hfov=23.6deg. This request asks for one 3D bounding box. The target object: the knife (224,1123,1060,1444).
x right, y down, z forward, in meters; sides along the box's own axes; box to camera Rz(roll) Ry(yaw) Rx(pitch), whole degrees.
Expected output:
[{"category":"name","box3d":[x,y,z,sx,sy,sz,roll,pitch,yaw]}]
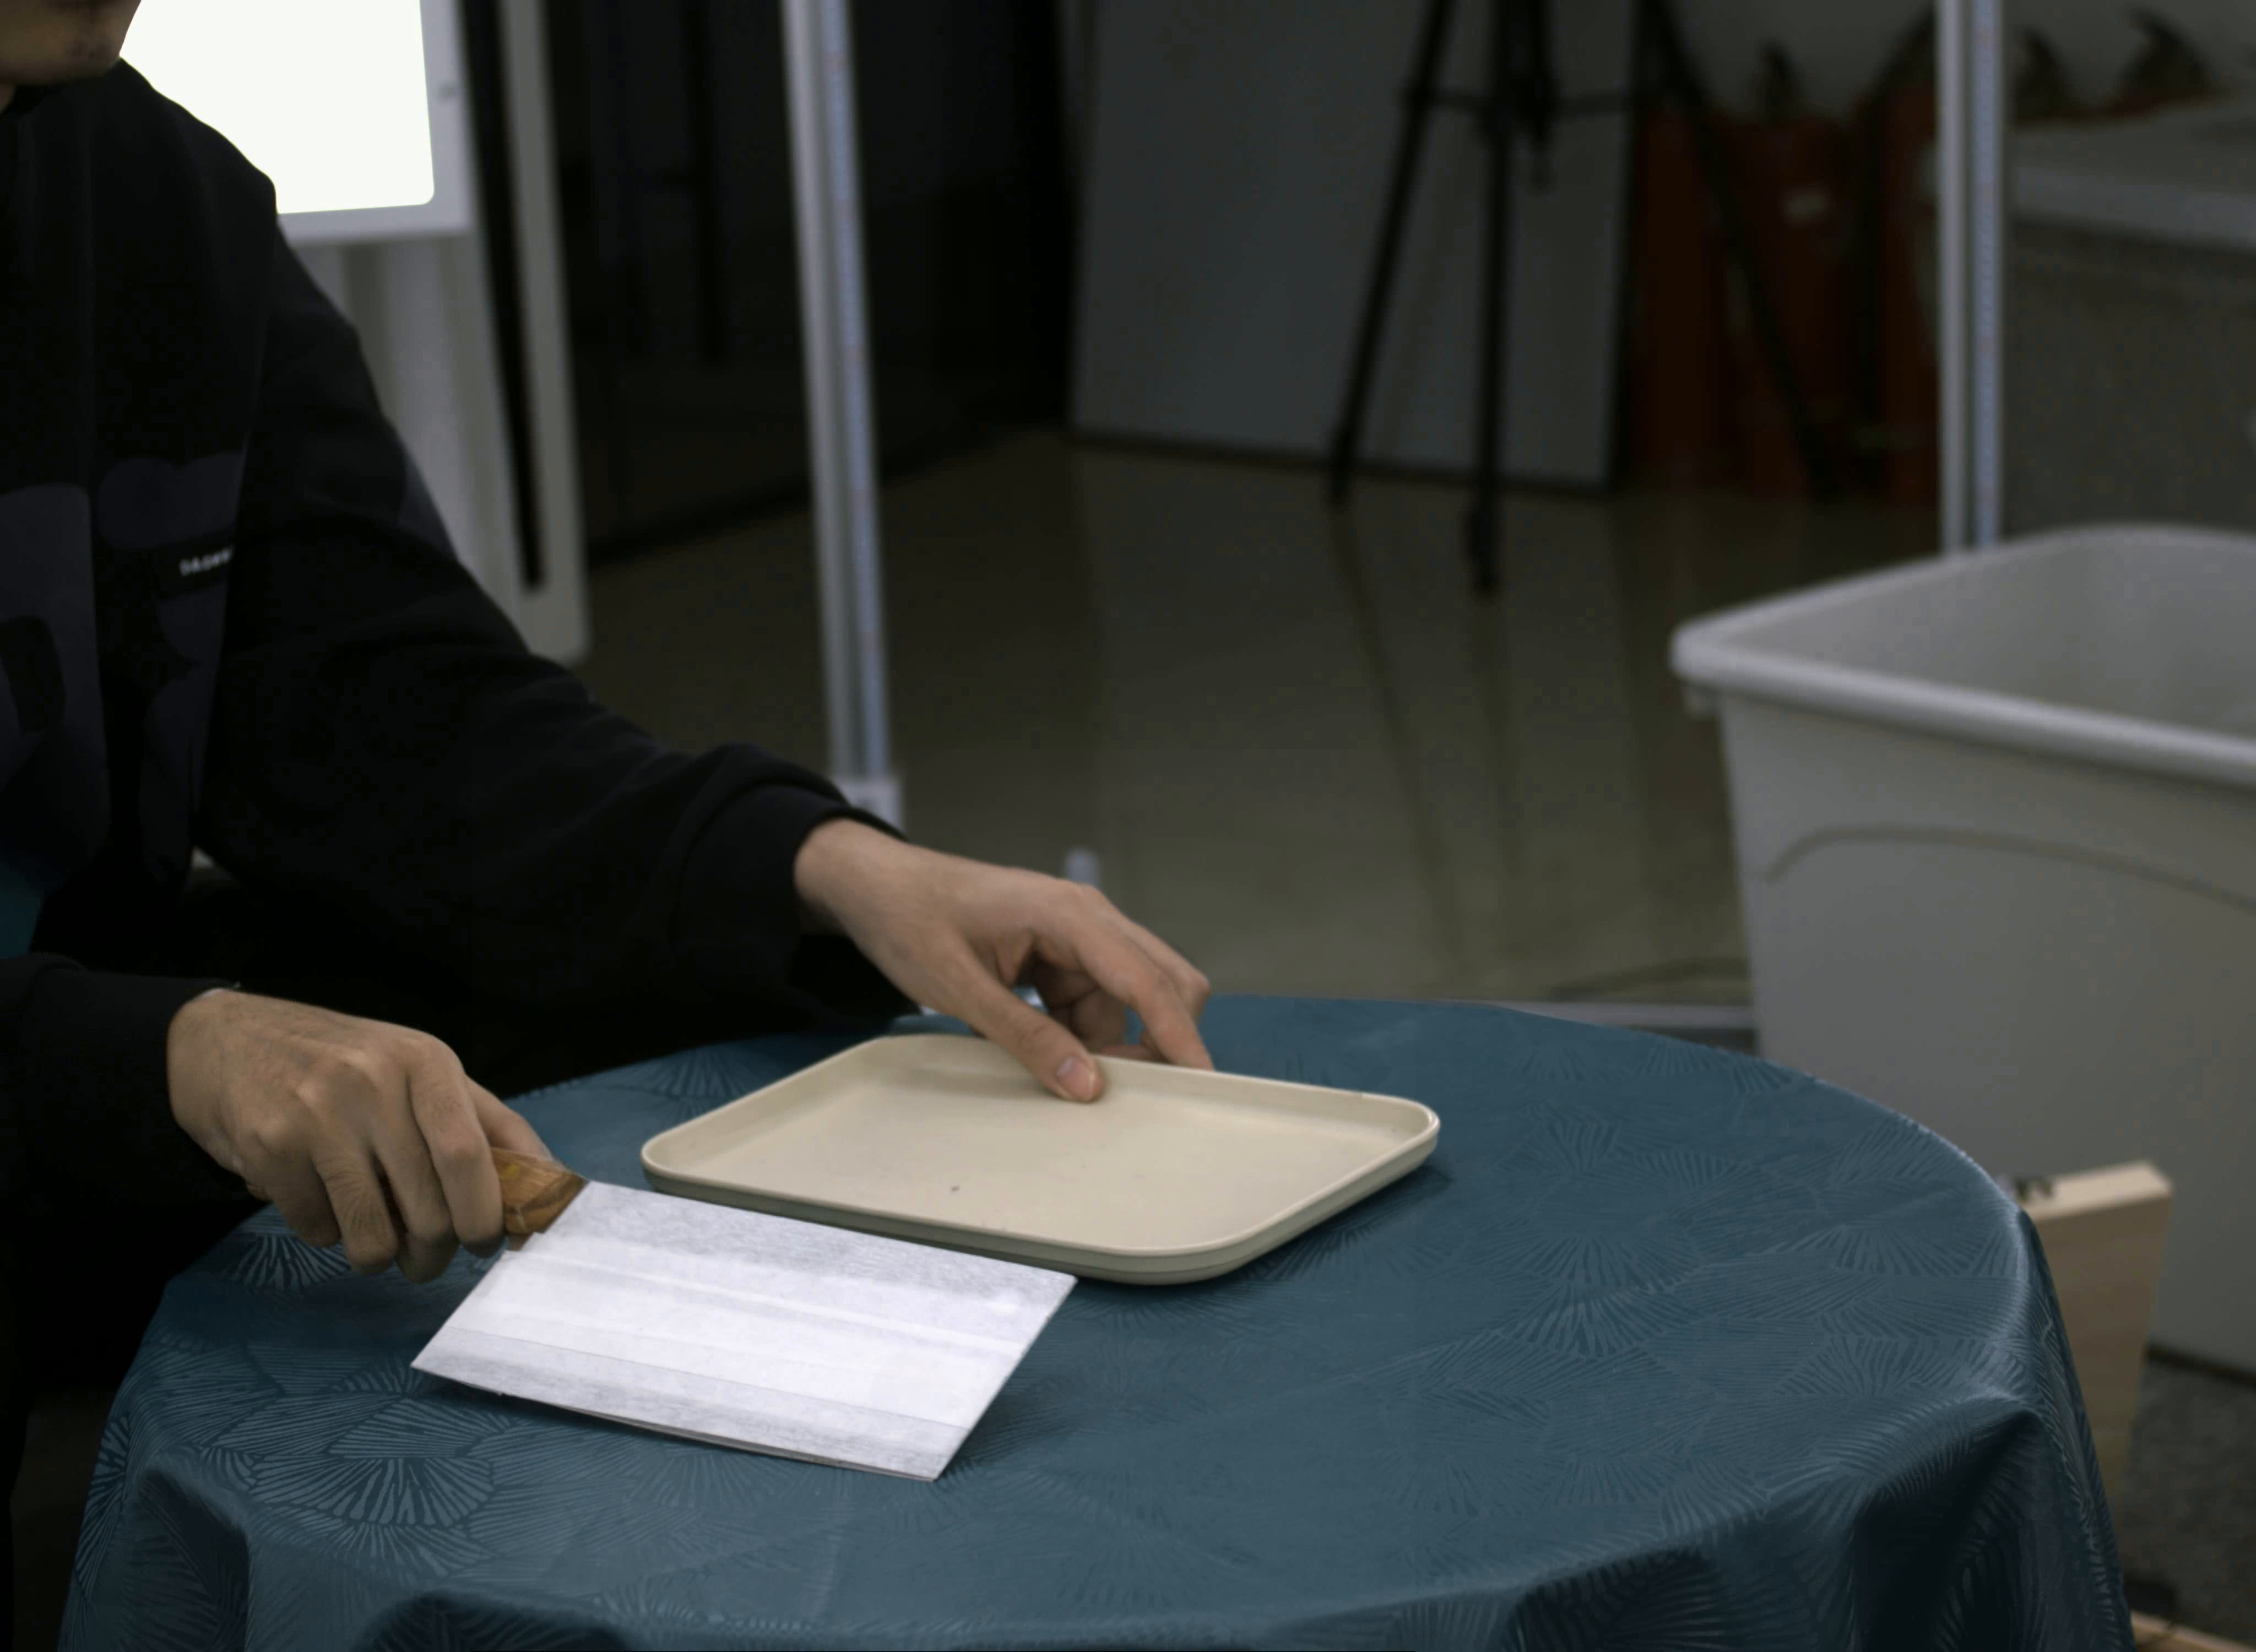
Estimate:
[{"category":"knife","box3d":[-0.163,0.140,1.634,0.307,0.021,0.092,7,43,32]}]

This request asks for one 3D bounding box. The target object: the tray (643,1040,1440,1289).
[{"category":"tray","box3d":[-0.028,0.111,1.781,0.241,0.017,0.168,6,18,35]}]
